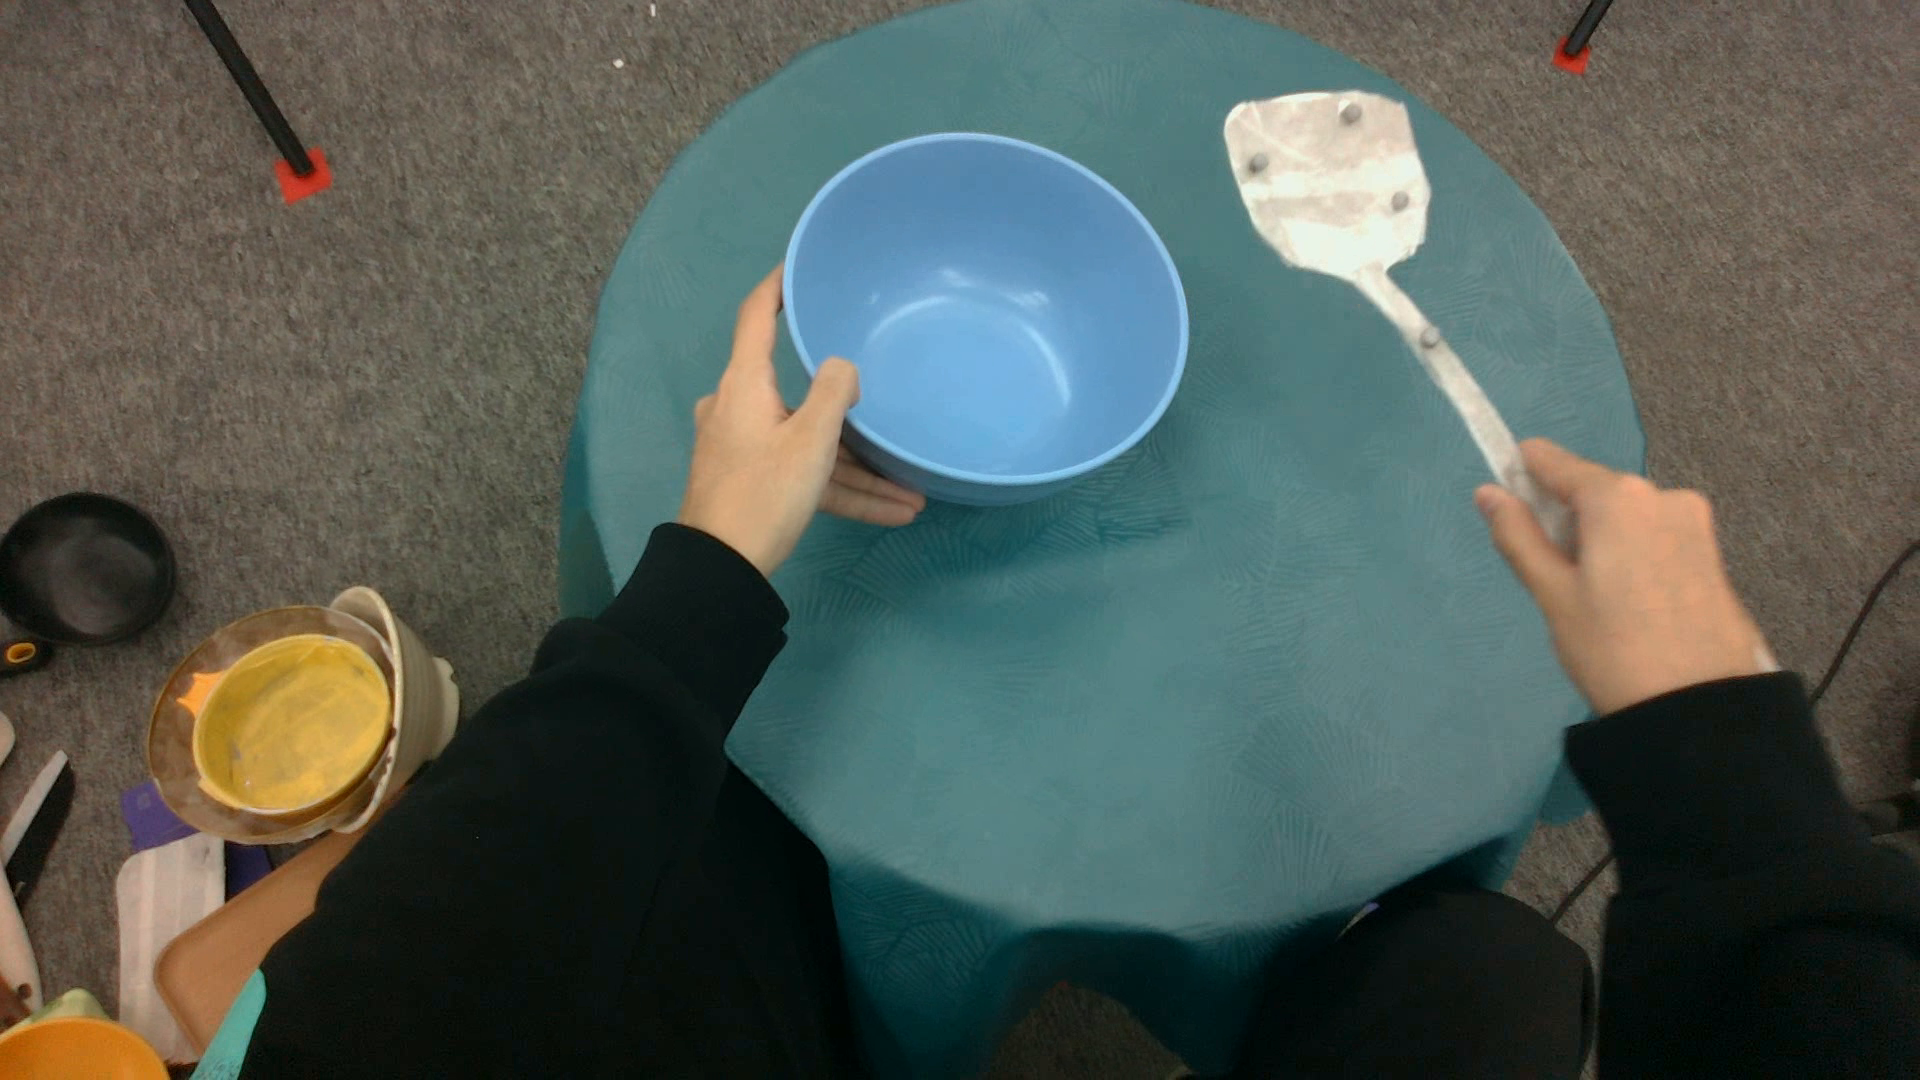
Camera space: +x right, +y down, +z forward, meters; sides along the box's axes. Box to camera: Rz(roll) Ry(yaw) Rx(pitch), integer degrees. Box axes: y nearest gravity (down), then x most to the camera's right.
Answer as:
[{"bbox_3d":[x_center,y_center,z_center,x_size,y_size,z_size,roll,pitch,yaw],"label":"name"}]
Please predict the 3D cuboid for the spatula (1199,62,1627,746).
[{"bbox_3d":[0.197,-0.081,0.584,0.099,0.044,0.366,-7,52,-13],"label":"spatula"}]

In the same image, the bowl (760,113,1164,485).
[{"bbox_3d":[-0.005,-0.106,0.693,0.196,0.095,0.197,5,65,-11],"label":"bowl"}]
